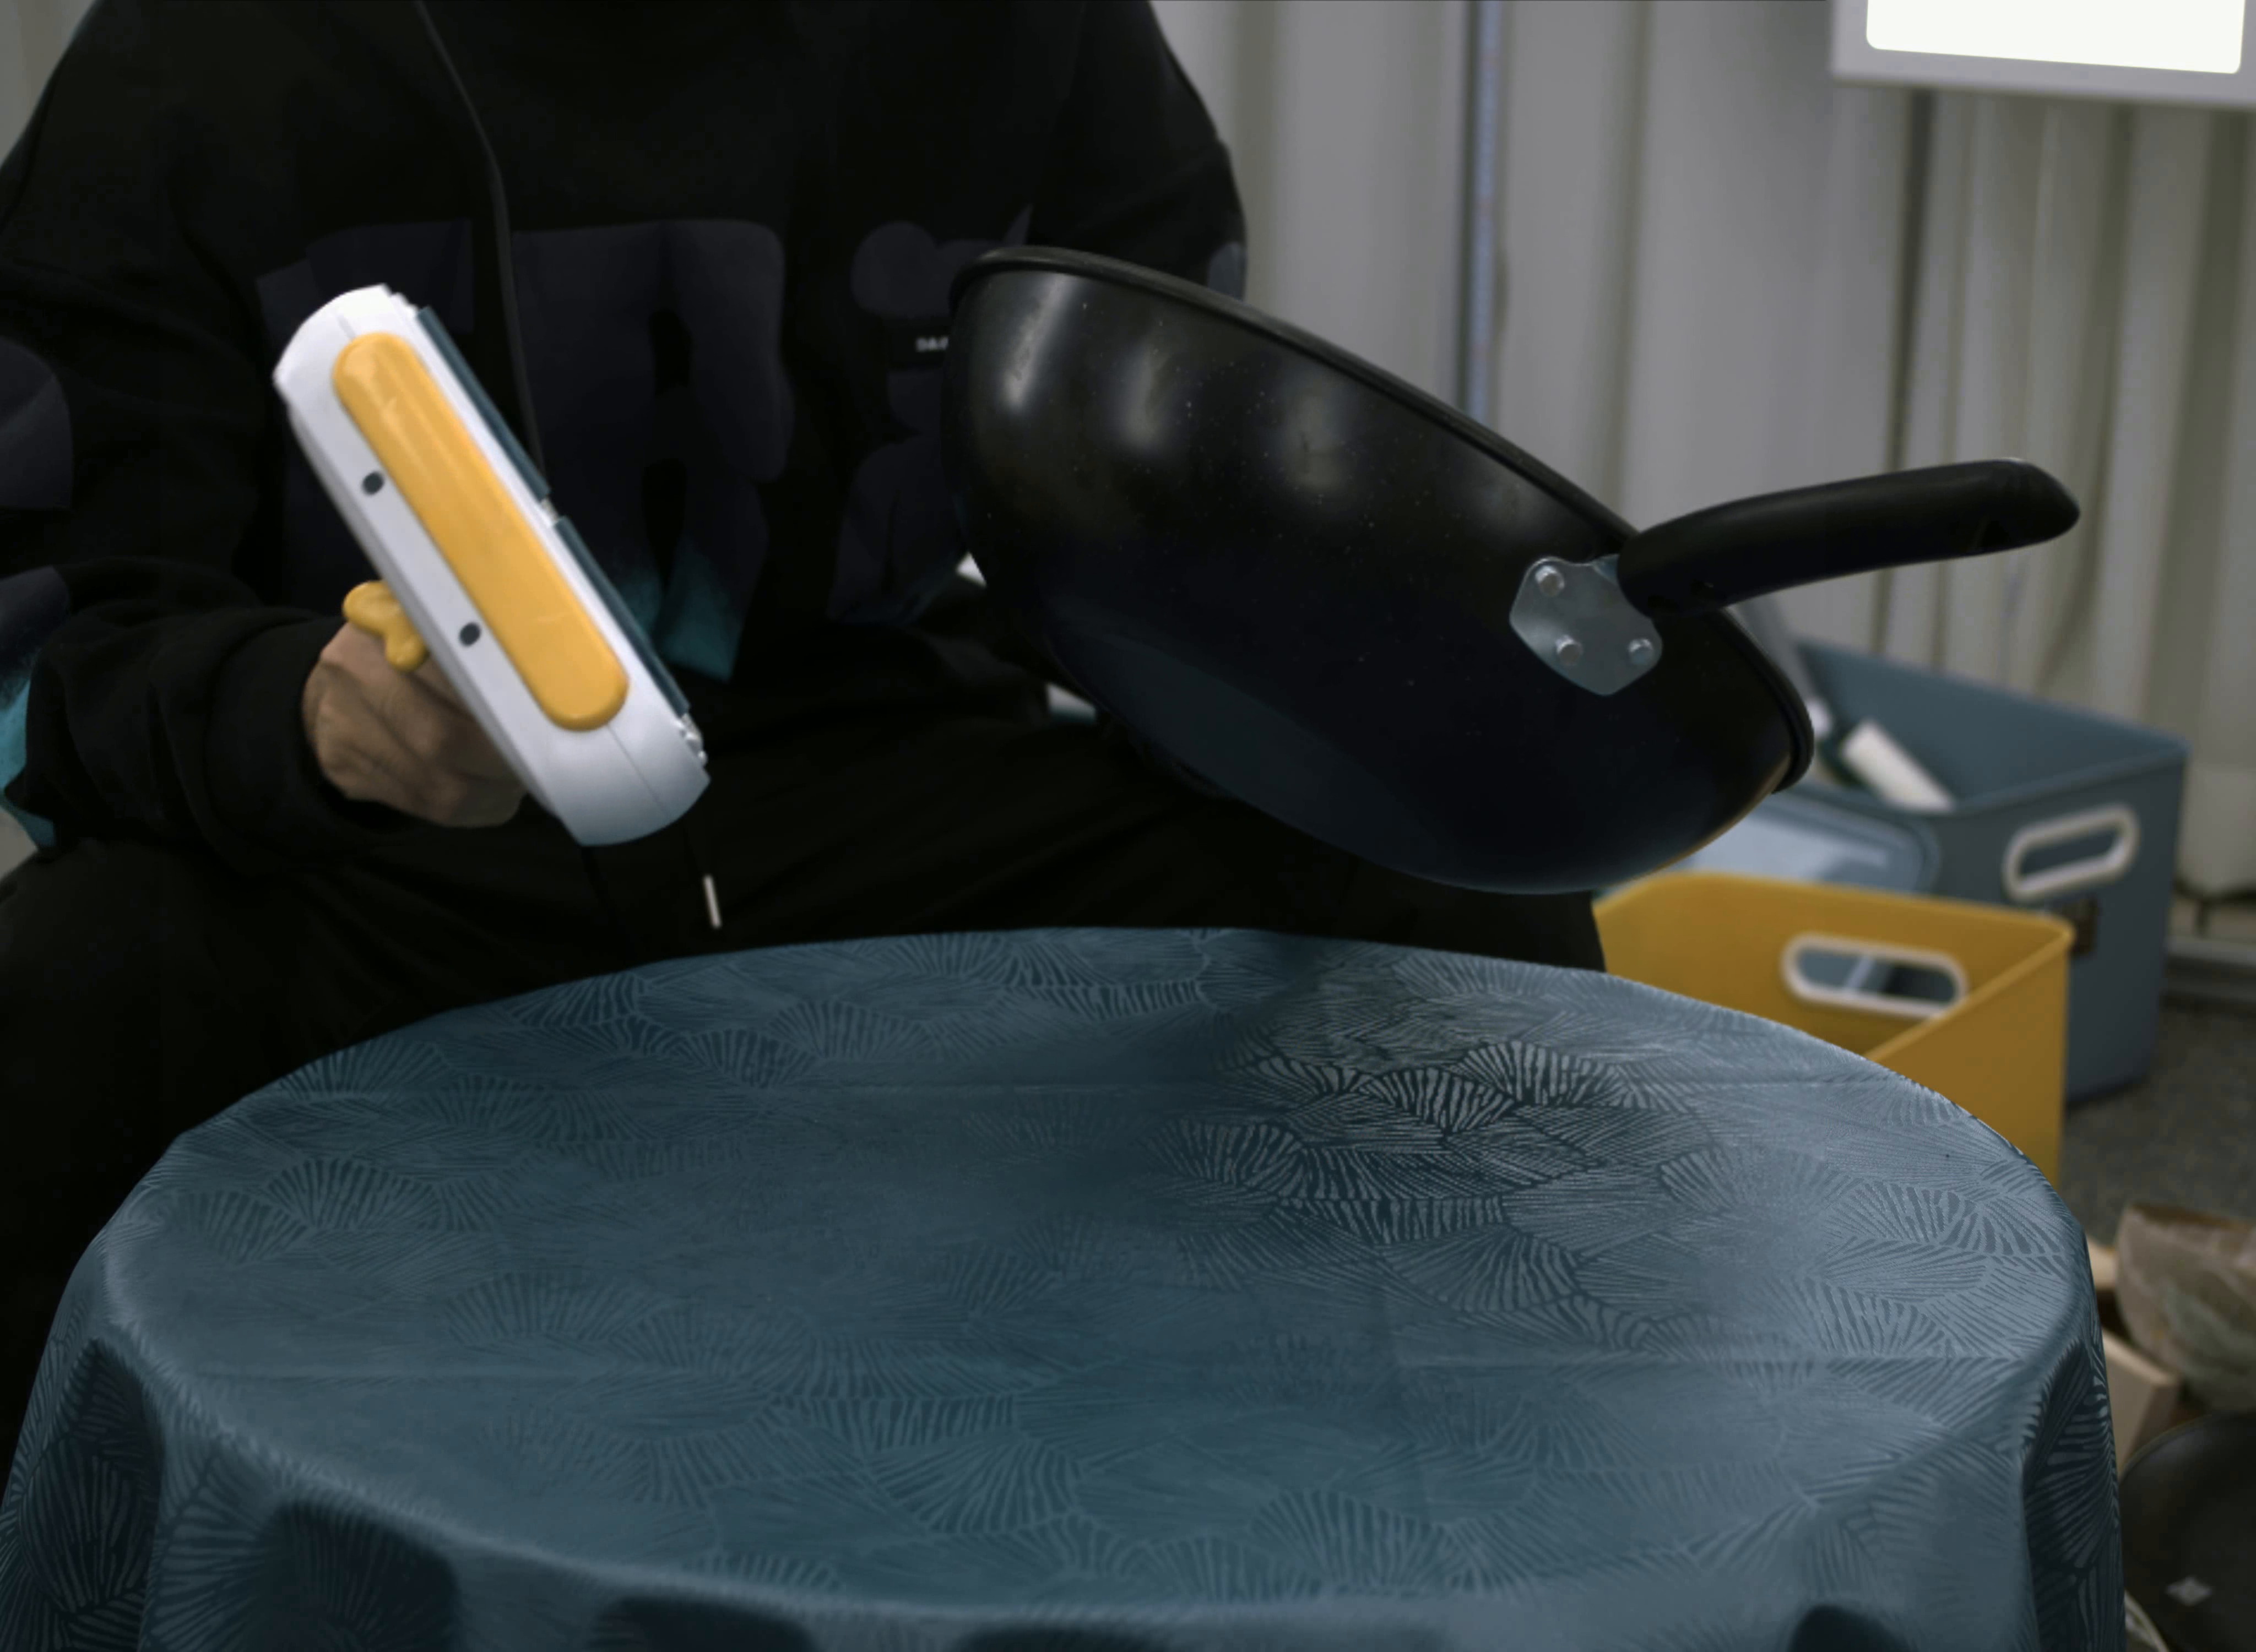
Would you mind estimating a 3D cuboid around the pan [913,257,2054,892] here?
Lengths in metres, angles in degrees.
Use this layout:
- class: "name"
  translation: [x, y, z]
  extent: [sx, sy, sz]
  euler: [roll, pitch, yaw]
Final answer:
- class: "pan"
  translation: [0.100, -0.063, 1.577]
  extent: [0.313, 0.111, 0.472]
  euler: [34, -12, -28]

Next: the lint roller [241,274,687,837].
- class: "lint roller"
  translation: [-0.206, -0.056, 1.642]
  extent: [0.074, 0.194, 0.191]
  euler: [-36, 73, -14]
